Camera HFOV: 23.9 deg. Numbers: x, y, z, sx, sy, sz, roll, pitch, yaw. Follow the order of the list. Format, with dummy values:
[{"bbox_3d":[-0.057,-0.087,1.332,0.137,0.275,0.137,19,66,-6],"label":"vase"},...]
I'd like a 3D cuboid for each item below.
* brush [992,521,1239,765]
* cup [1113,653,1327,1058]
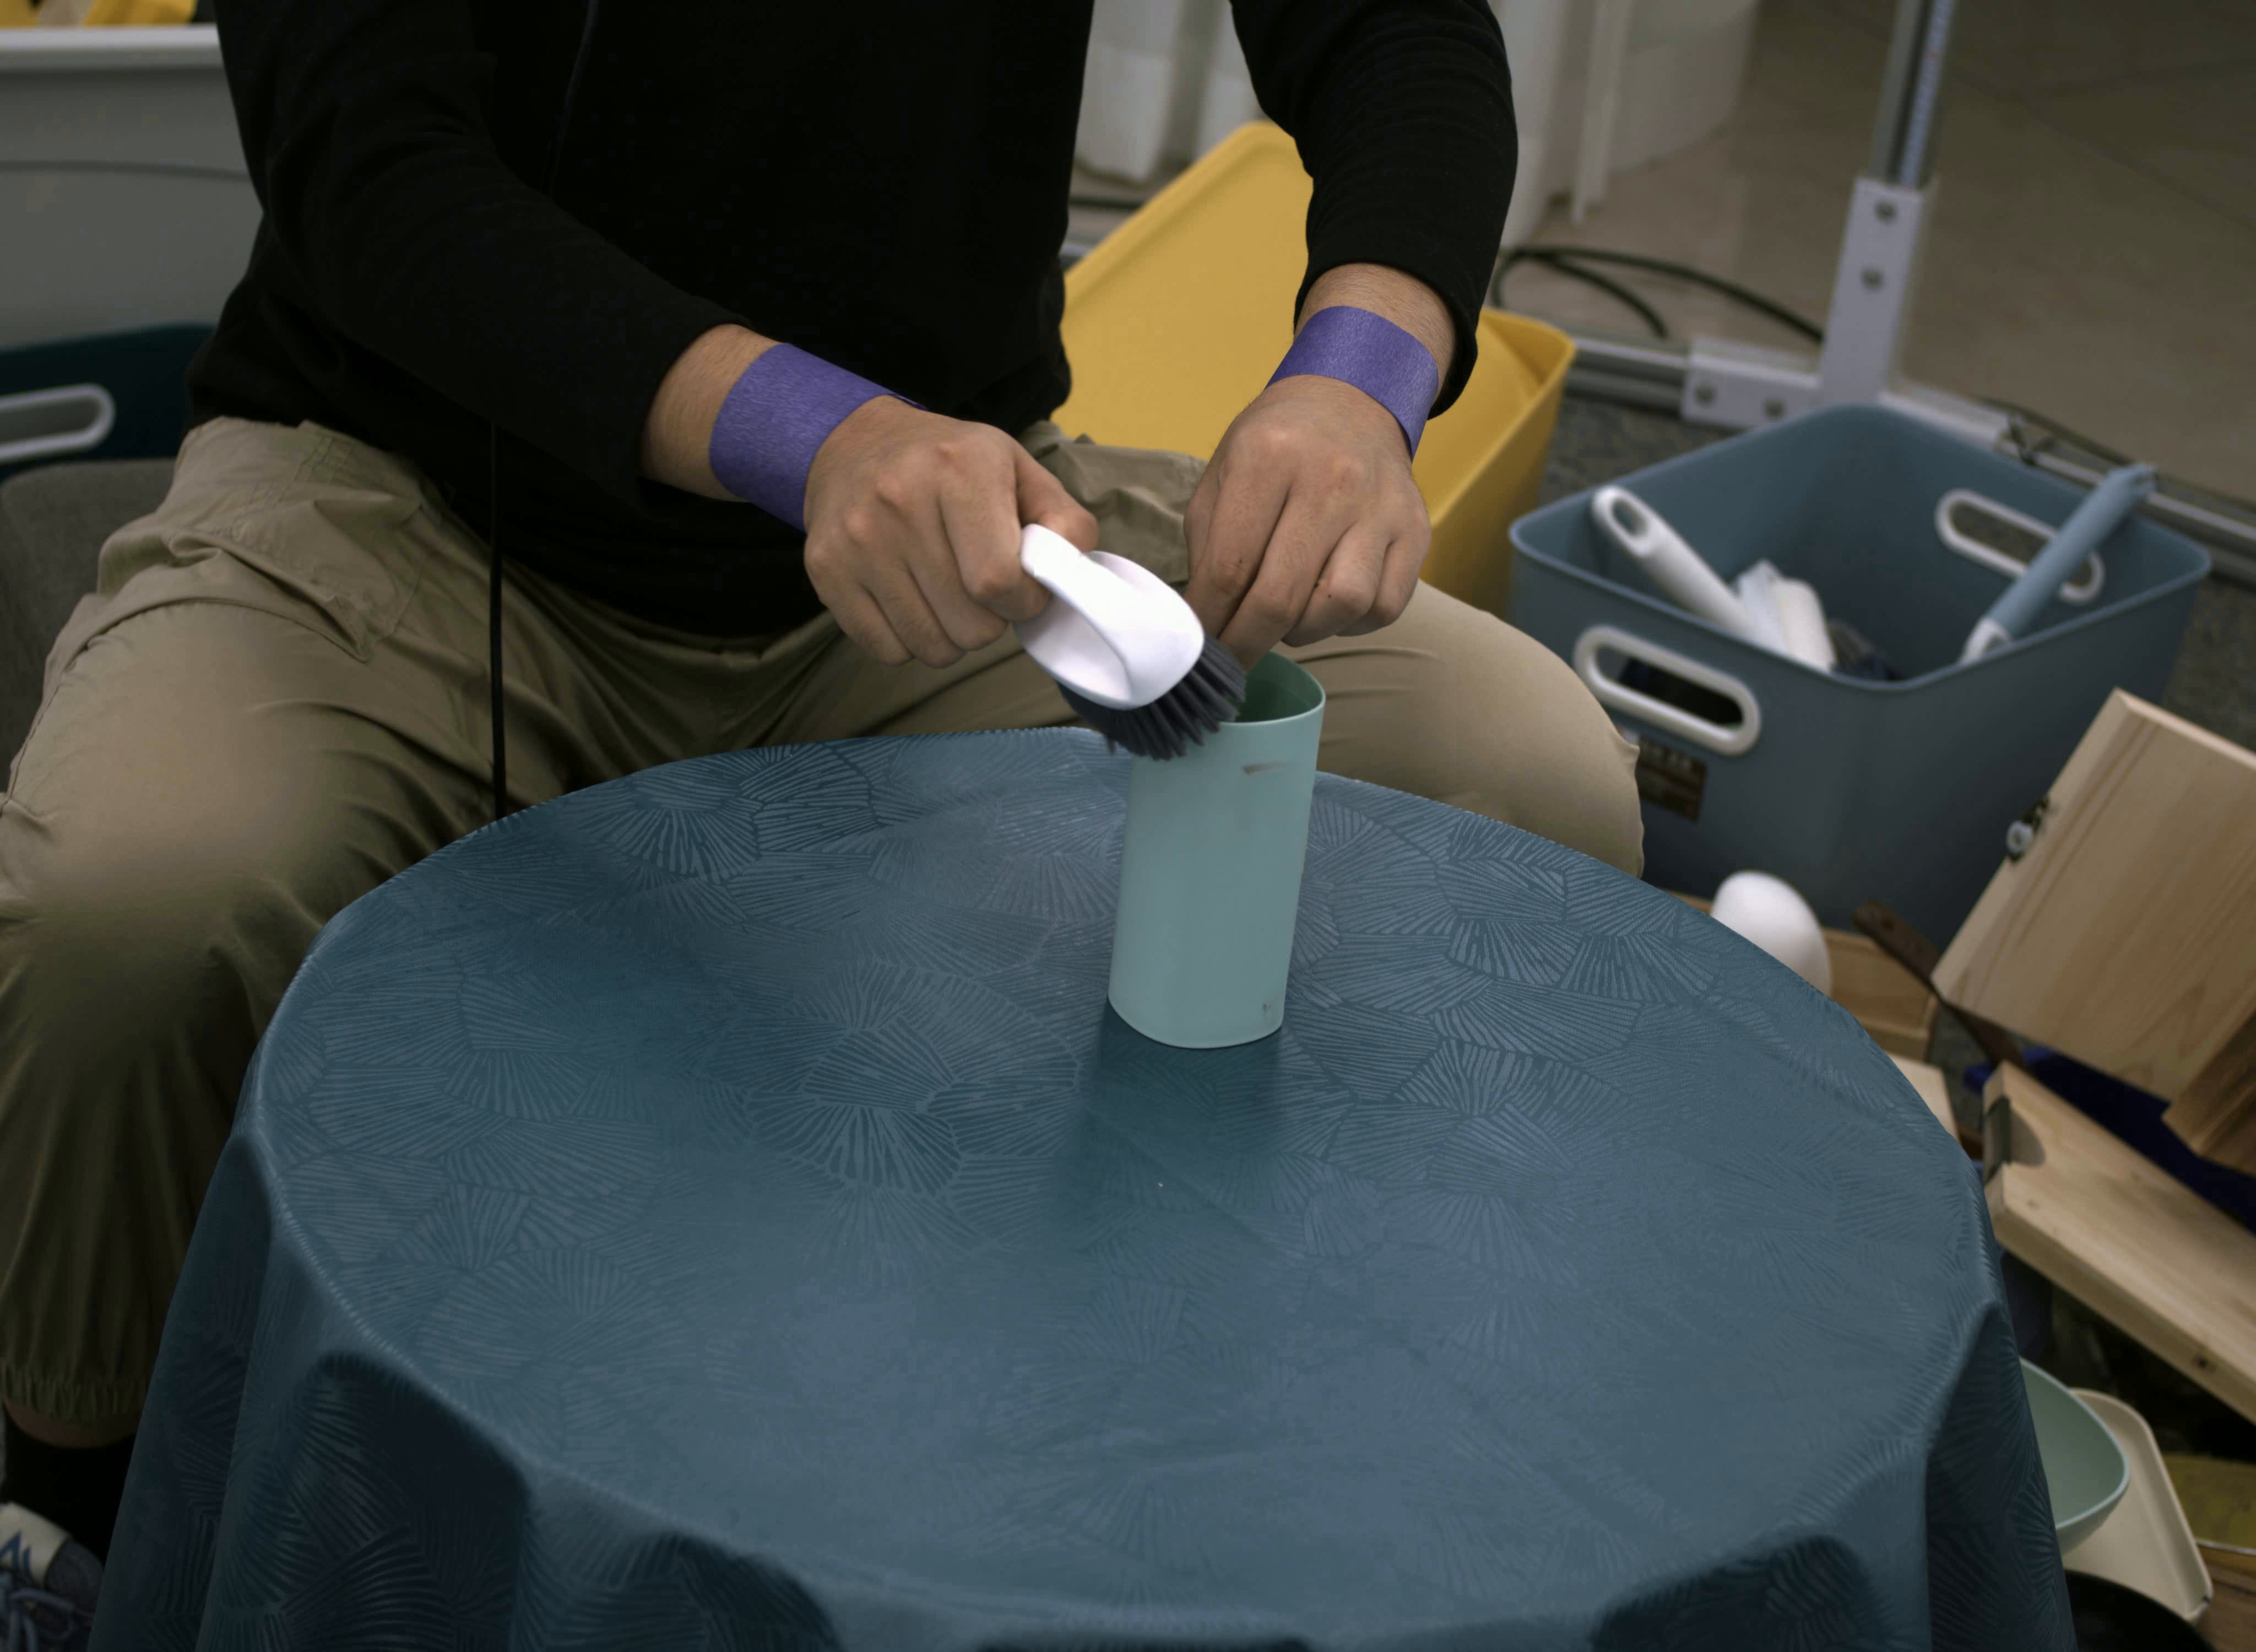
[{"bbox_3d":[-0.012,-0.071,1.835,0.050,0.072,0.100,-43,34,-4],"label":"brush"},{"bbox_3d":[0.030,0.011,1.894,0.066,0.132,0.067,5,27,-3],"label":"cup"}]
